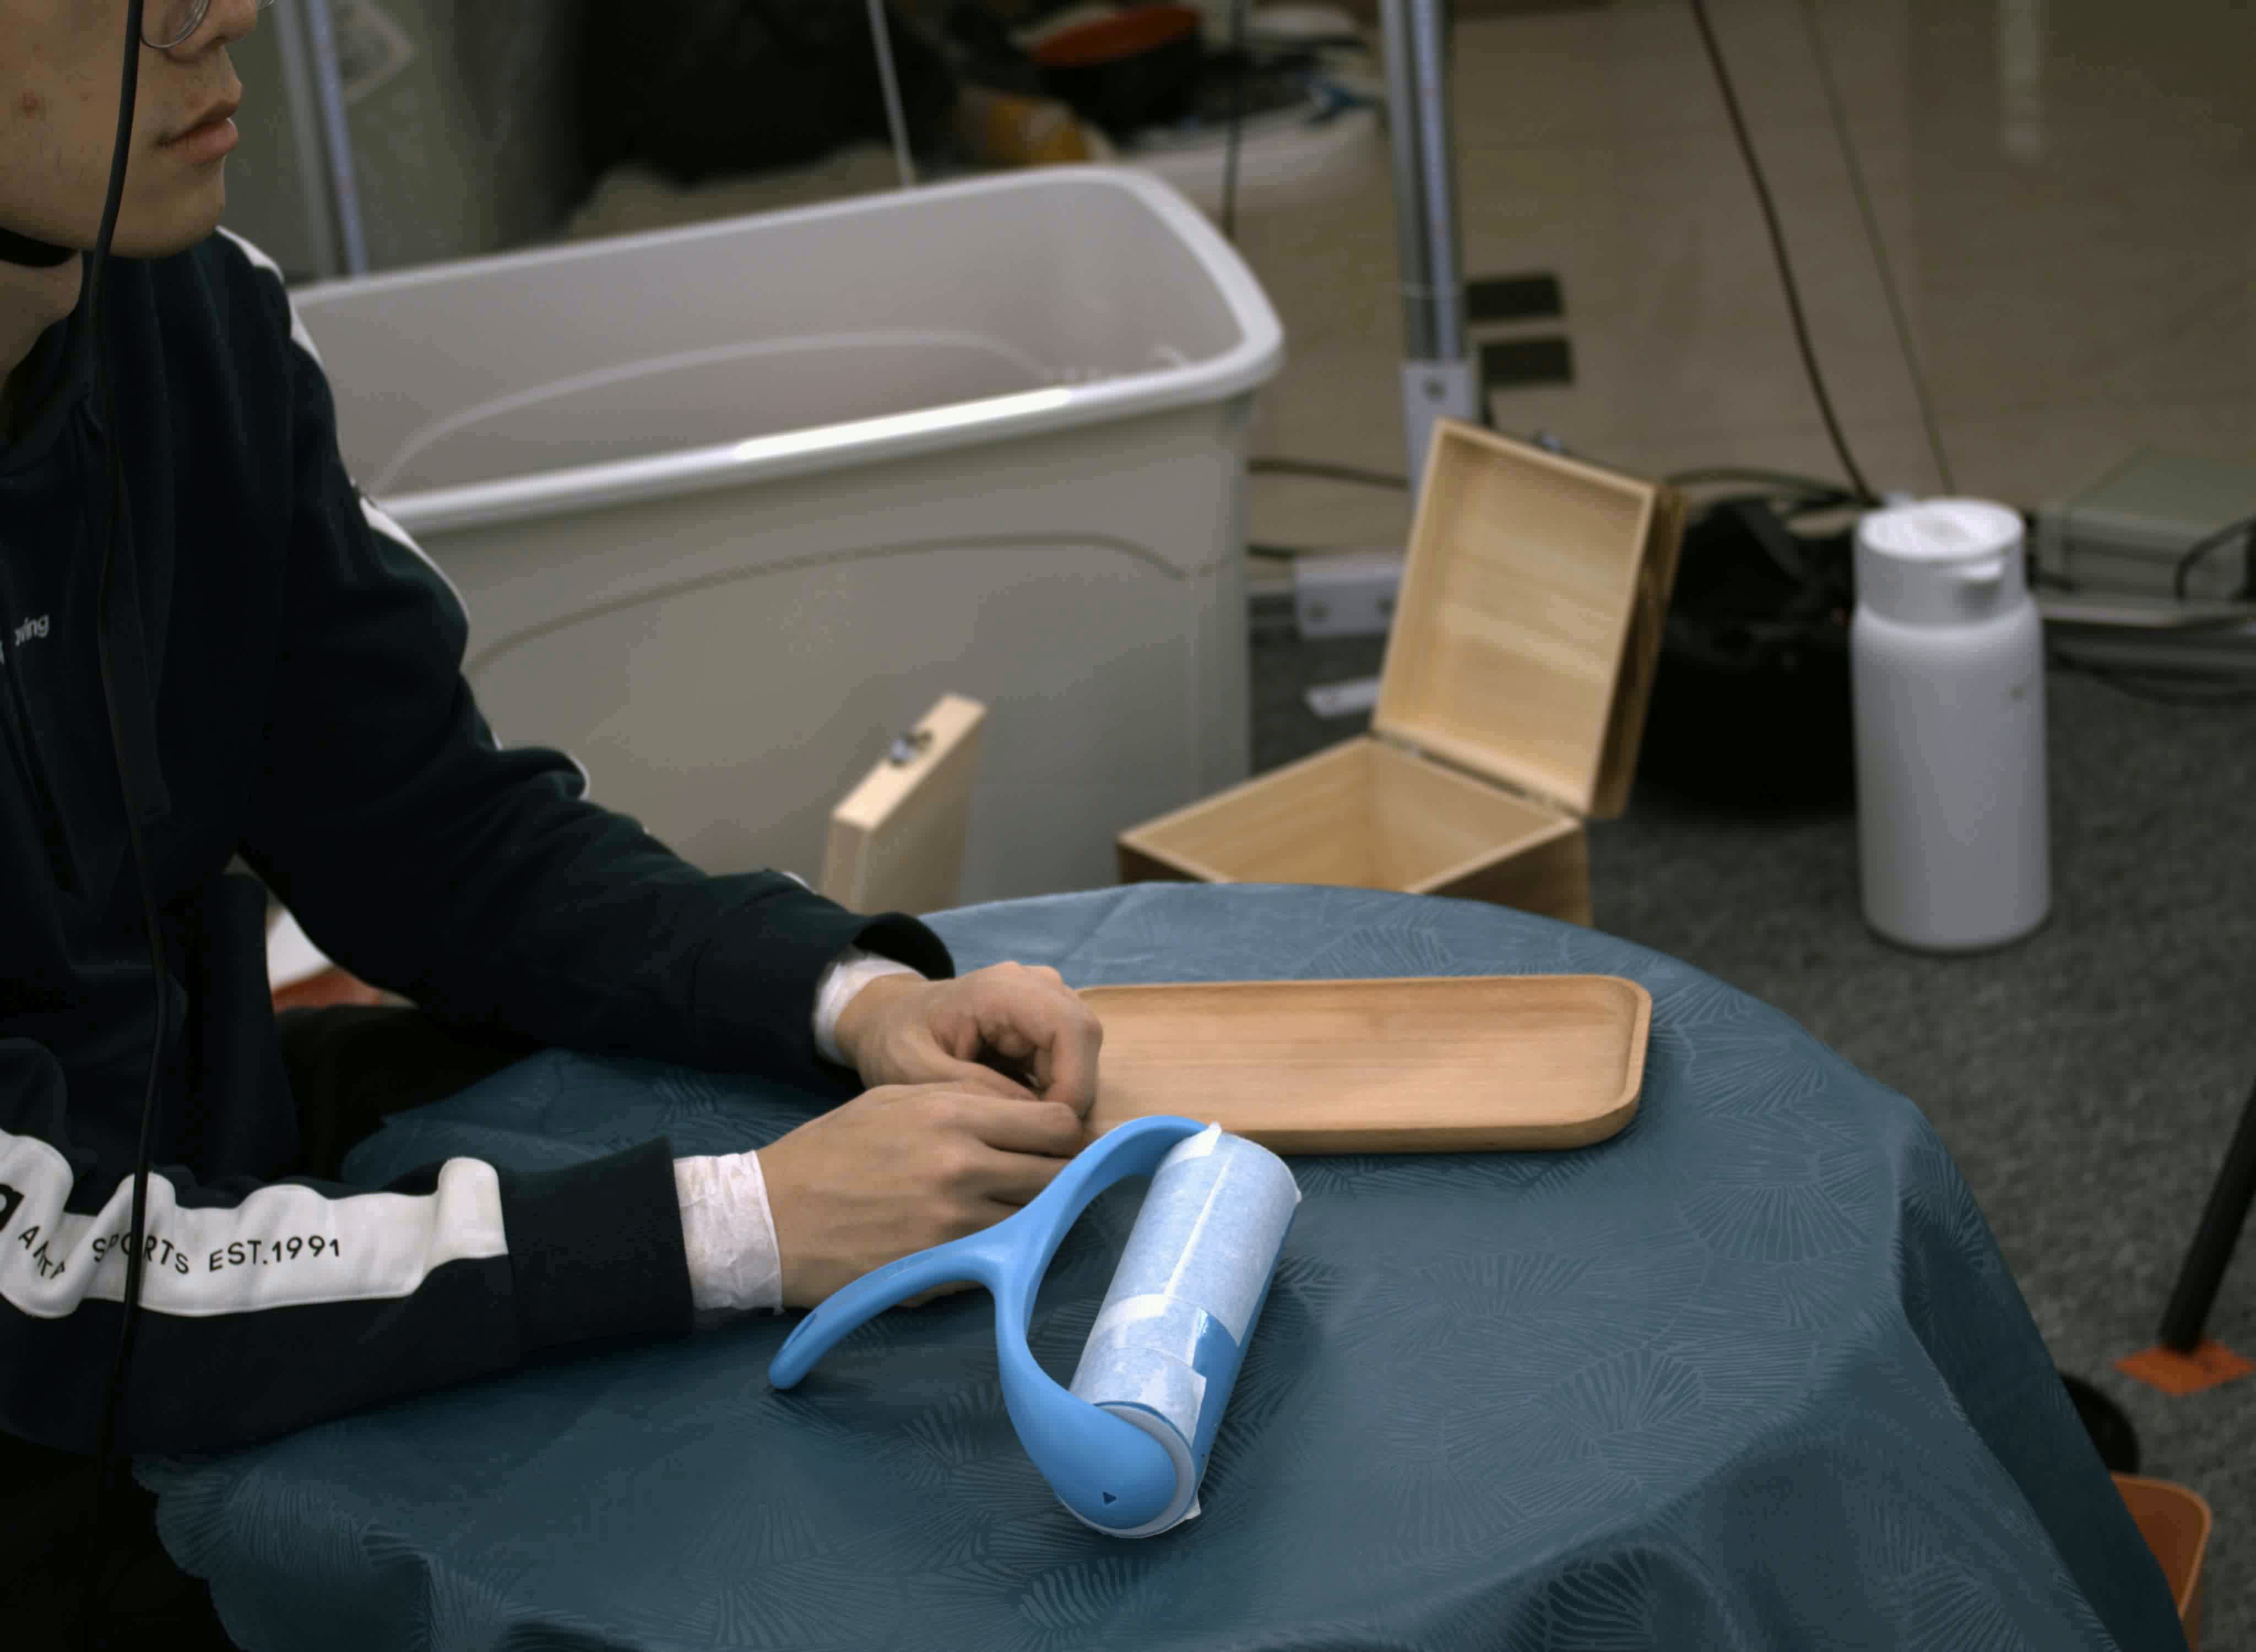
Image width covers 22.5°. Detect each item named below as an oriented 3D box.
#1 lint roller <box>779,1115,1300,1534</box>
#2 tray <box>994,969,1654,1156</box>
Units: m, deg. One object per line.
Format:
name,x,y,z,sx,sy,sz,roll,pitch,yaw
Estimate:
lint roller,-0.040,0.175,2.008,0.180,0.069,0.225,-1,27,10
tray,0.077,0.093,2.204,0.250,0.023,0.129,-2,23,12
